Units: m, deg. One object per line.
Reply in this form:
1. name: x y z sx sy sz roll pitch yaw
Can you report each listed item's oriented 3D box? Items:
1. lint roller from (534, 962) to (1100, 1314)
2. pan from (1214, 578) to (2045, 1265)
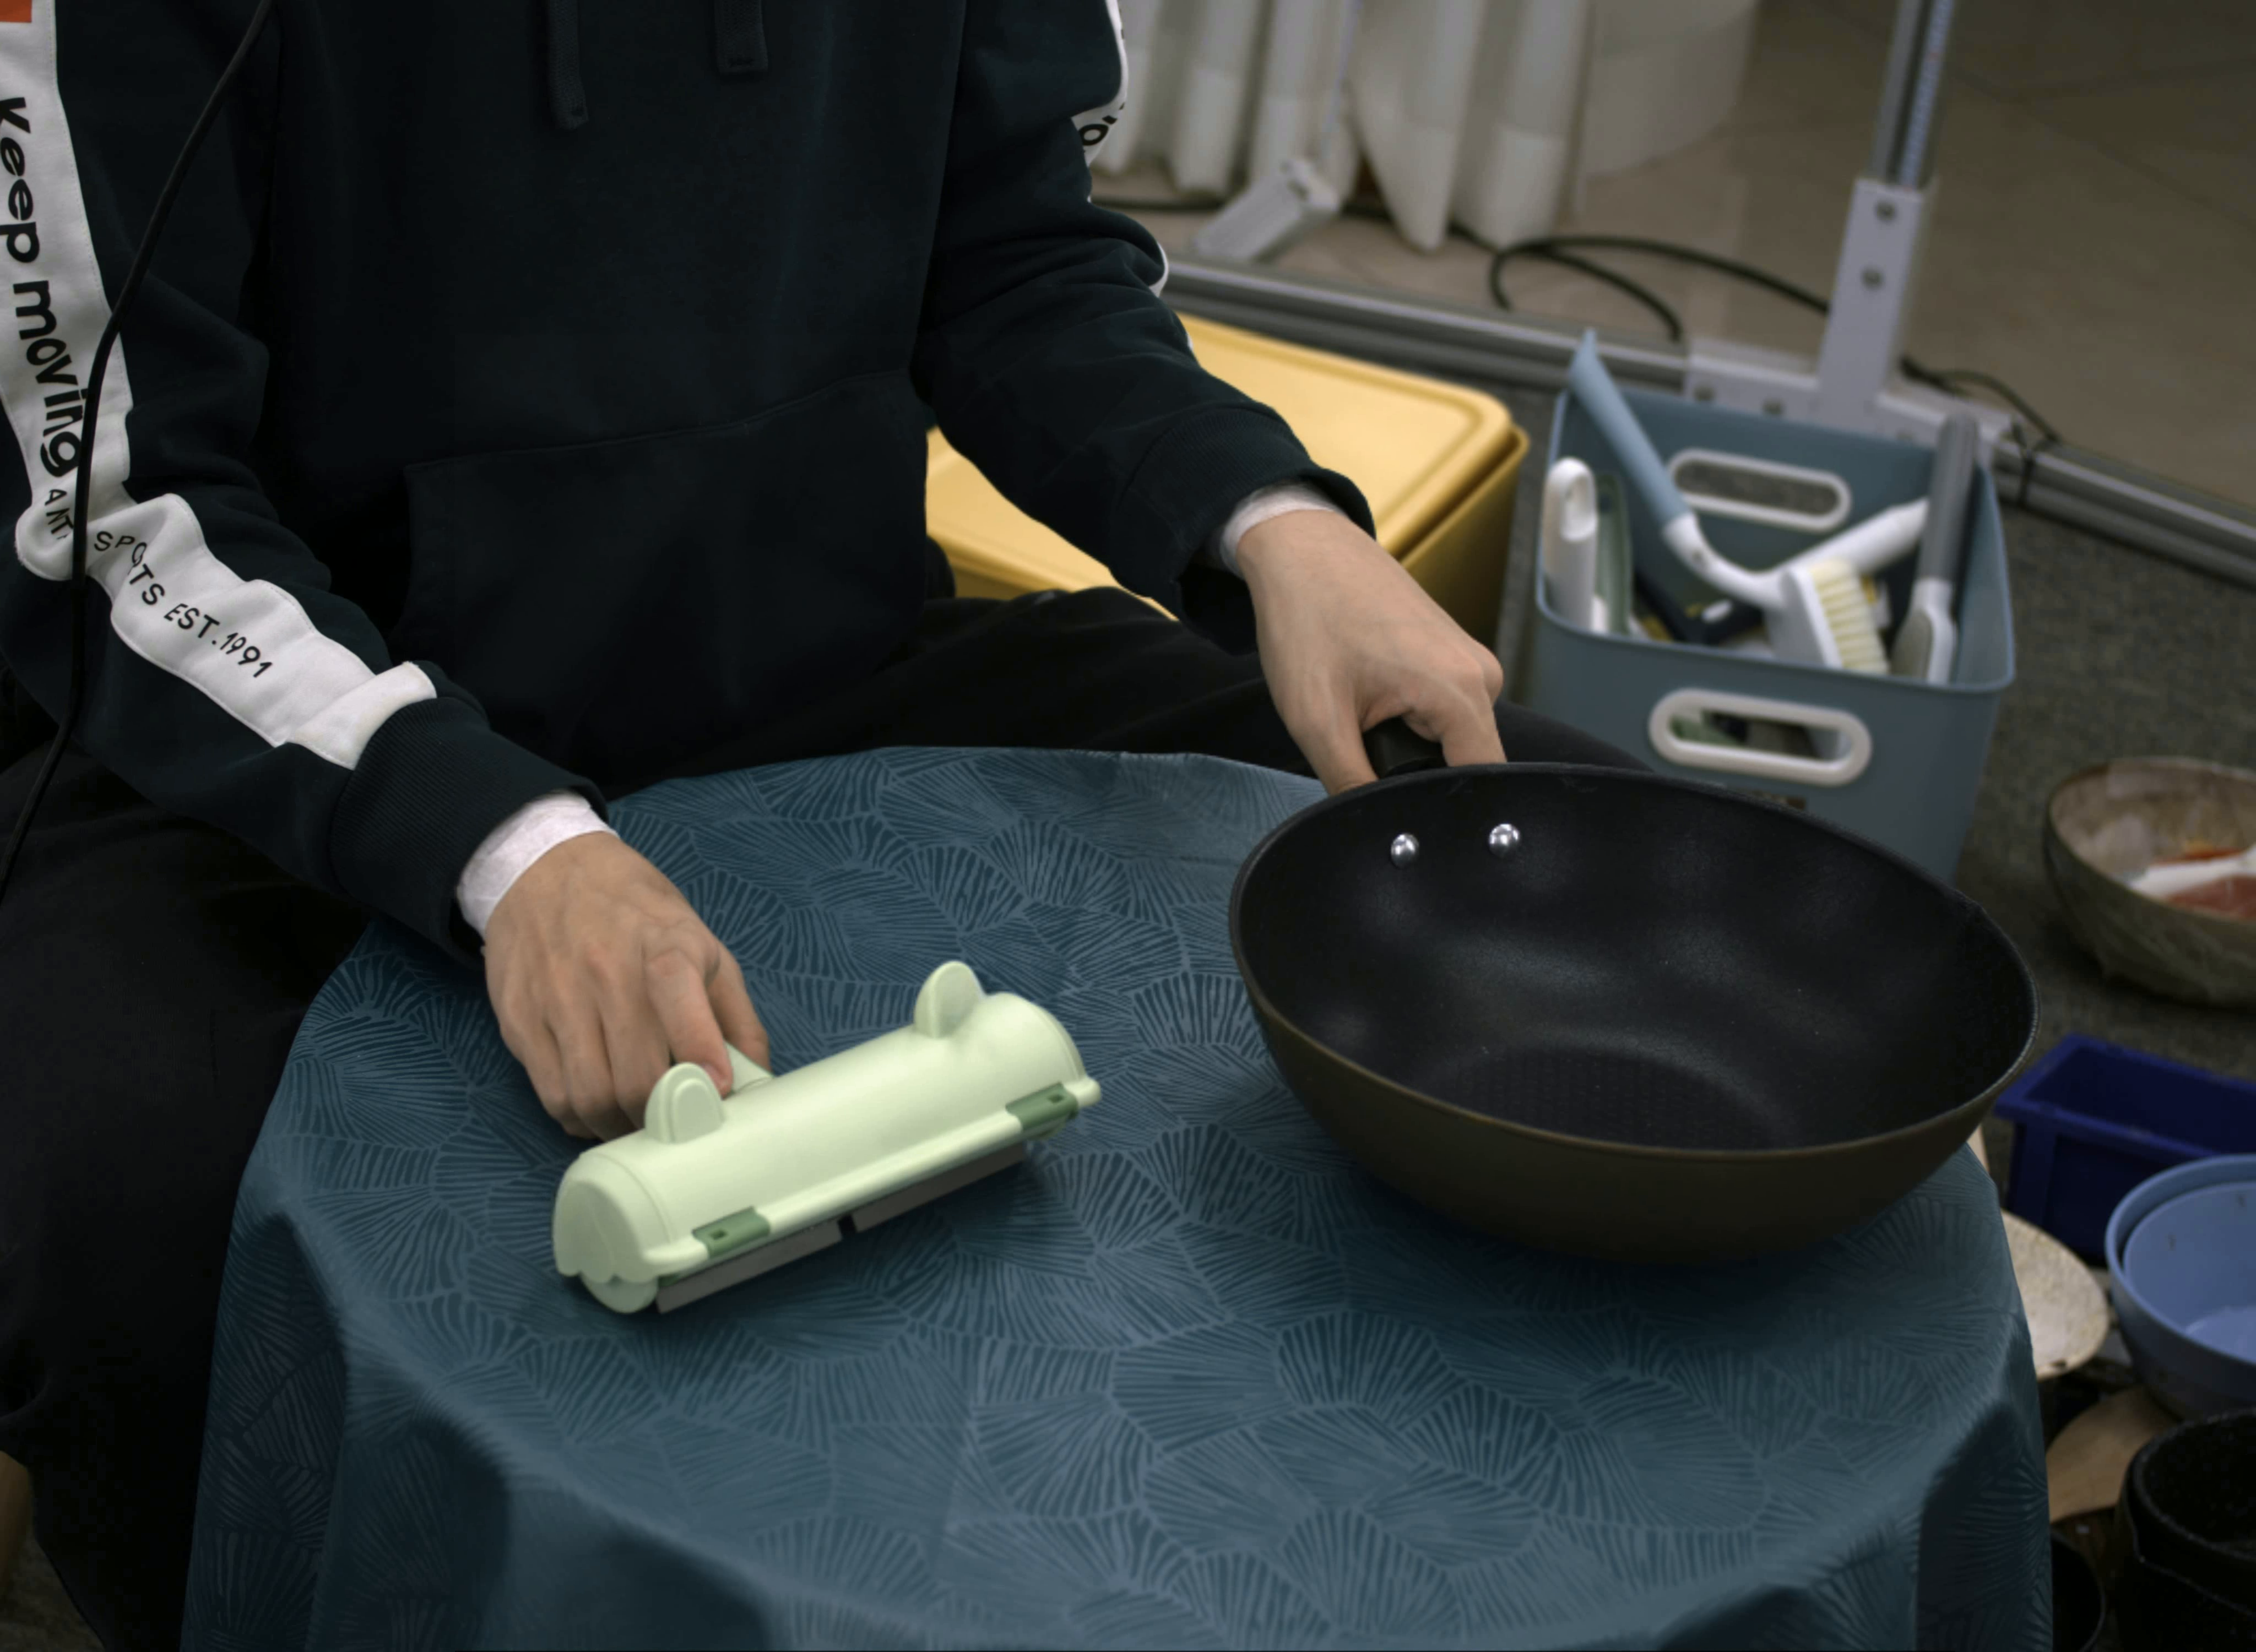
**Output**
1. lint roller: -0.137 0.075 1.776 0.197 0.082 0.185 -19 42 -39
2. pan: 0.130 0.036 1.909 0.286 0.086 0.467 -6 28 -25
